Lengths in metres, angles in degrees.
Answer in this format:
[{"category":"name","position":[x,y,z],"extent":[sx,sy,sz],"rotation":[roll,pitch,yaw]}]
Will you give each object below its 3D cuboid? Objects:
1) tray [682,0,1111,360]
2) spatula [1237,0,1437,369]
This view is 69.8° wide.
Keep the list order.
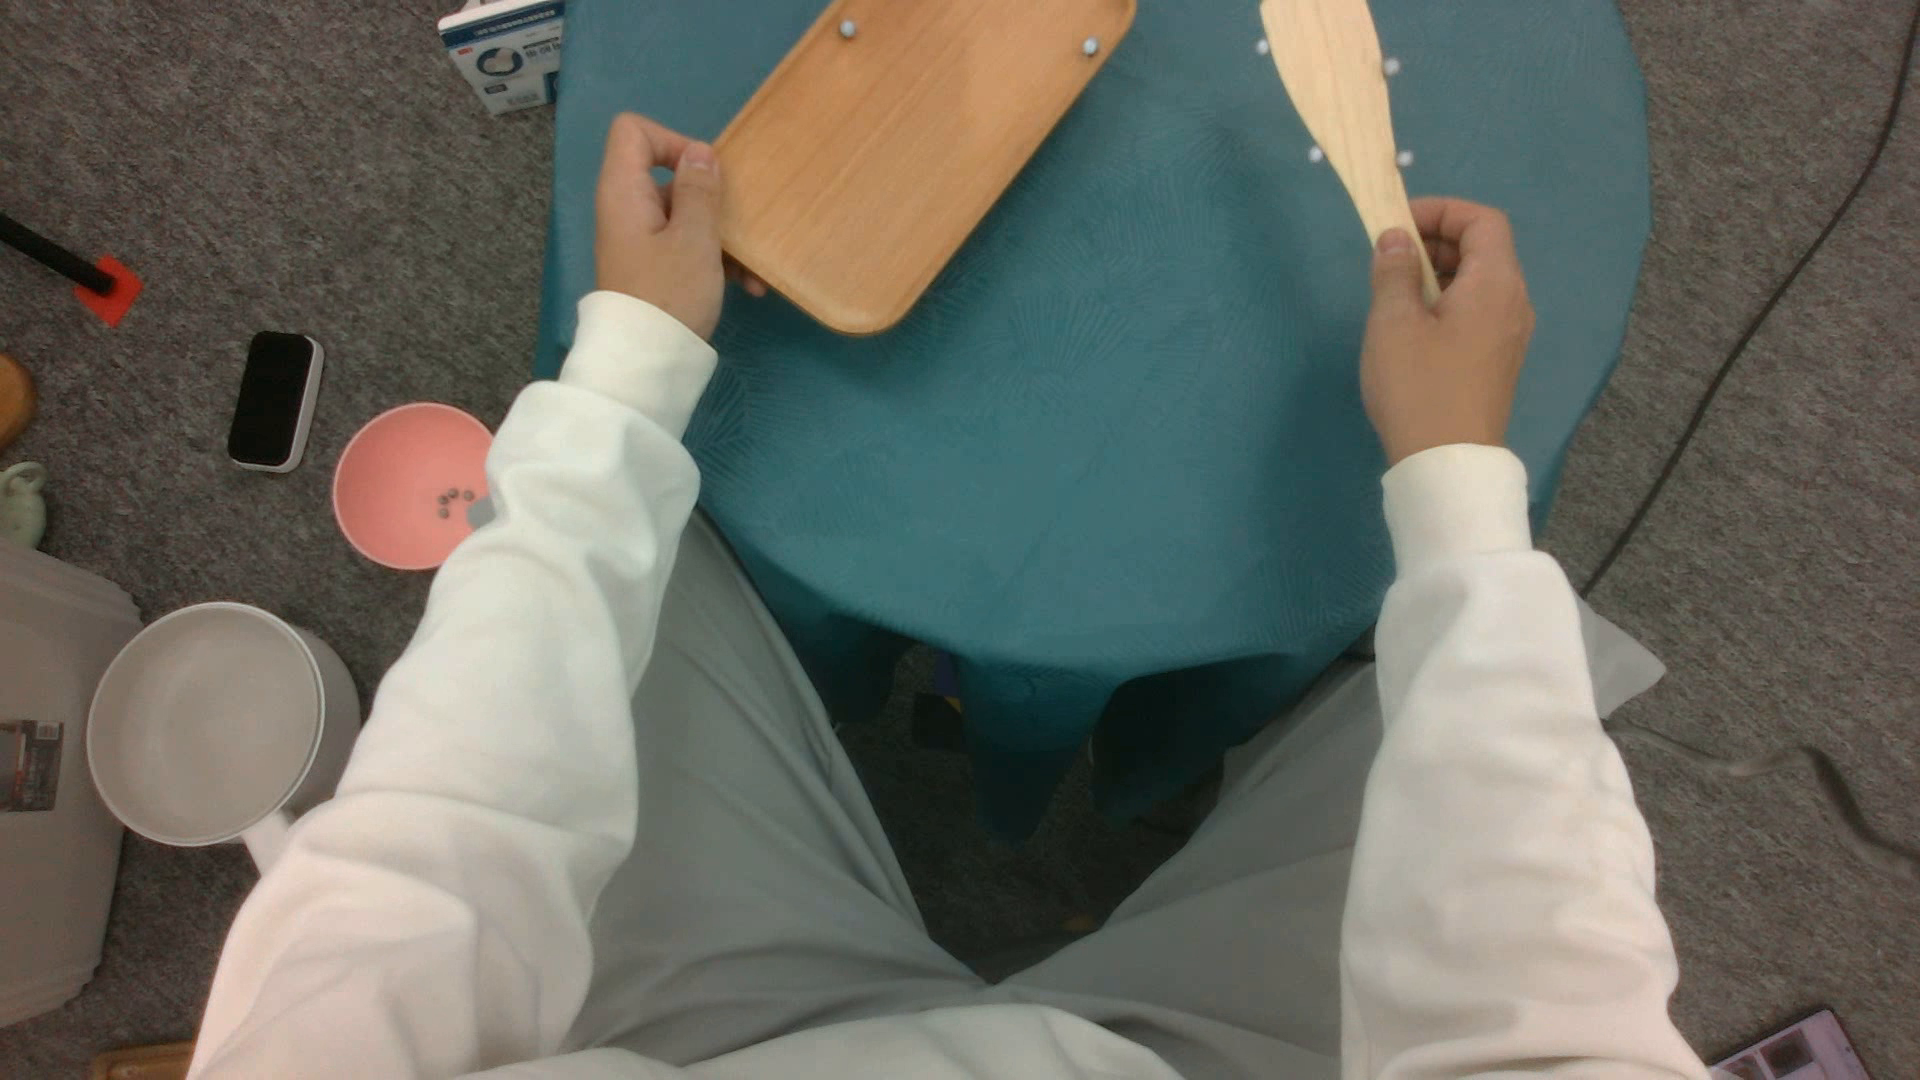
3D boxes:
[{"category":"tray","position":[-0.030,-0.214,0.720],"extent":[0.130,0.023,0.251],"rotation":[33,77,7]},{"category":"spatula","position":[0.191,-0.181,0.685],"extent":[0.050,0.005,0.208],"rotation":[-26,74,32]}]
